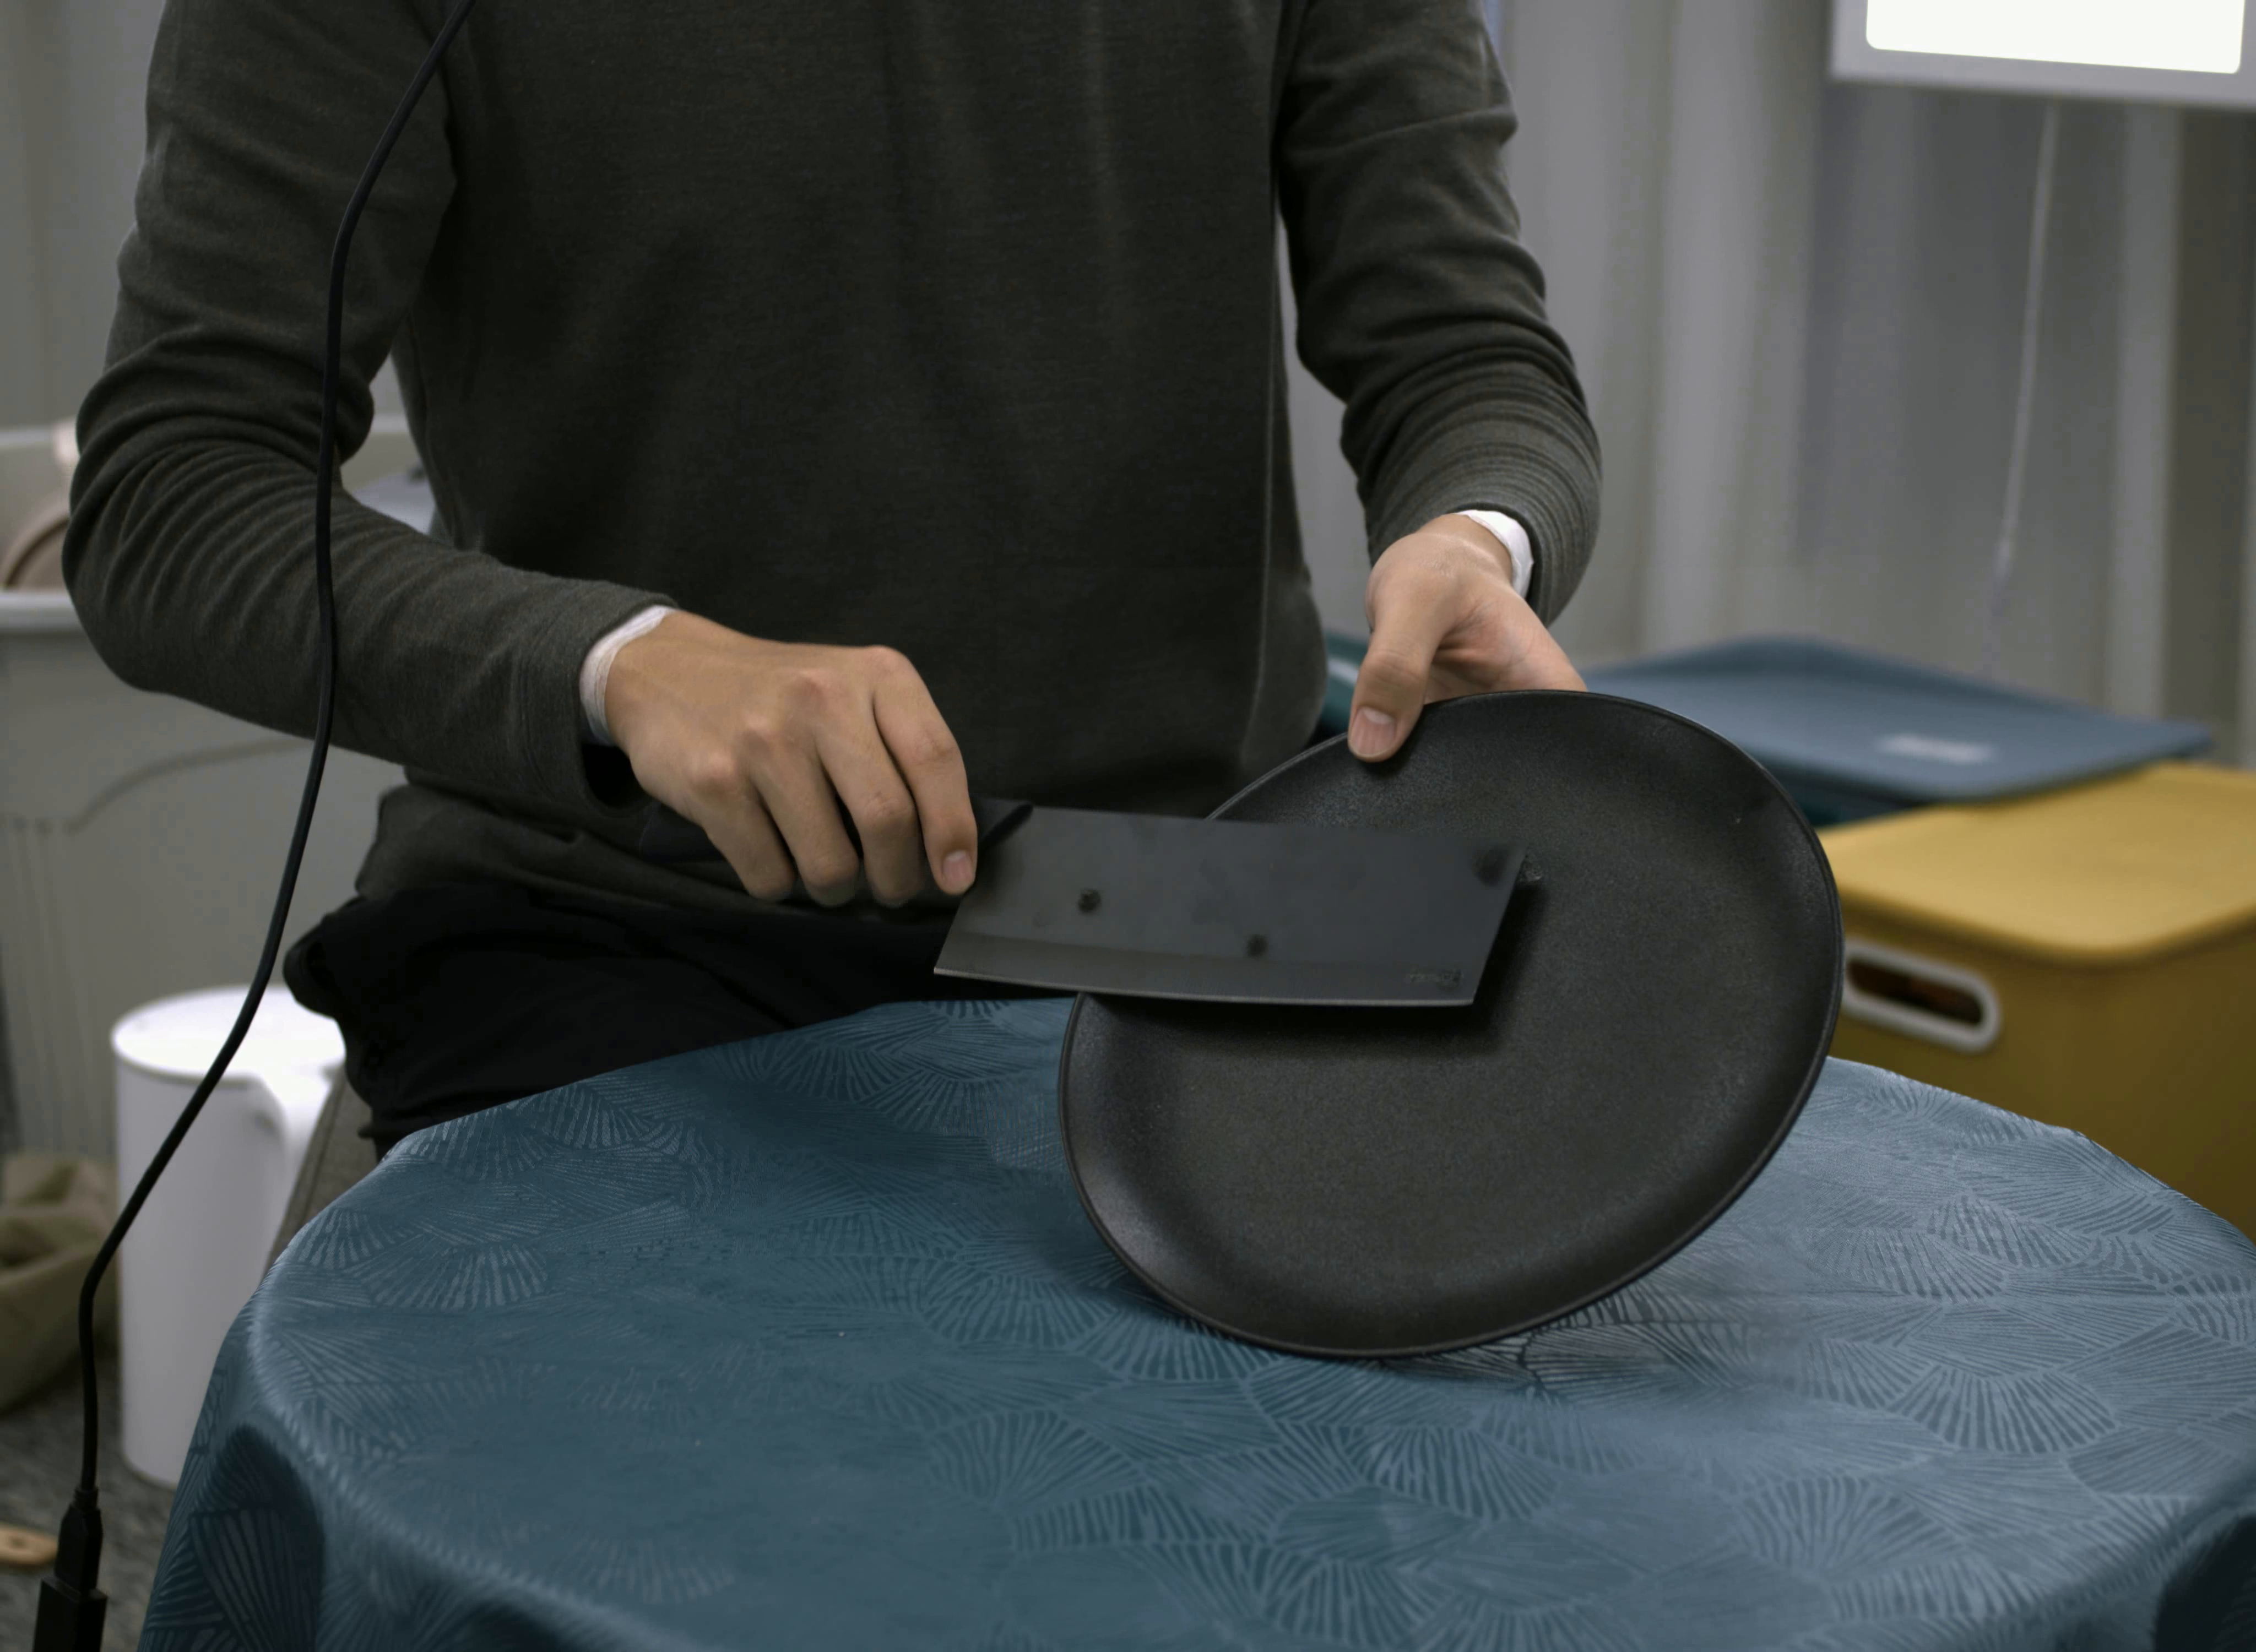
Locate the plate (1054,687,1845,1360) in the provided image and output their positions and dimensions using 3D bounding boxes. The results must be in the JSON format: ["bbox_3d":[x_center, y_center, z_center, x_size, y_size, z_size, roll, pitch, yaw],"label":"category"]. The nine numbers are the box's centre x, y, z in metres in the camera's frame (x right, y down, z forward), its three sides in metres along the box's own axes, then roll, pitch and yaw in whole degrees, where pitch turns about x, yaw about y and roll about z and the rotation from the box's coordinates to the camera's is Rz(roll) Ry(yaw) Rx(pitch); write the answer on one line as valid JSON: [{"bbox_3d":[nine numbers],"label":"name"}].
[{"bbox_3d":[0.095,0.060,1.555,0.243,0.024,0.242,-12,48,15],"label":"plate"}]

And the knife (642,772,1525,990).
[{"bbox_3d":[-0.021,0.016,1.630,0.299,0.021,0.080,8,55,28],"label":"knife"}]
